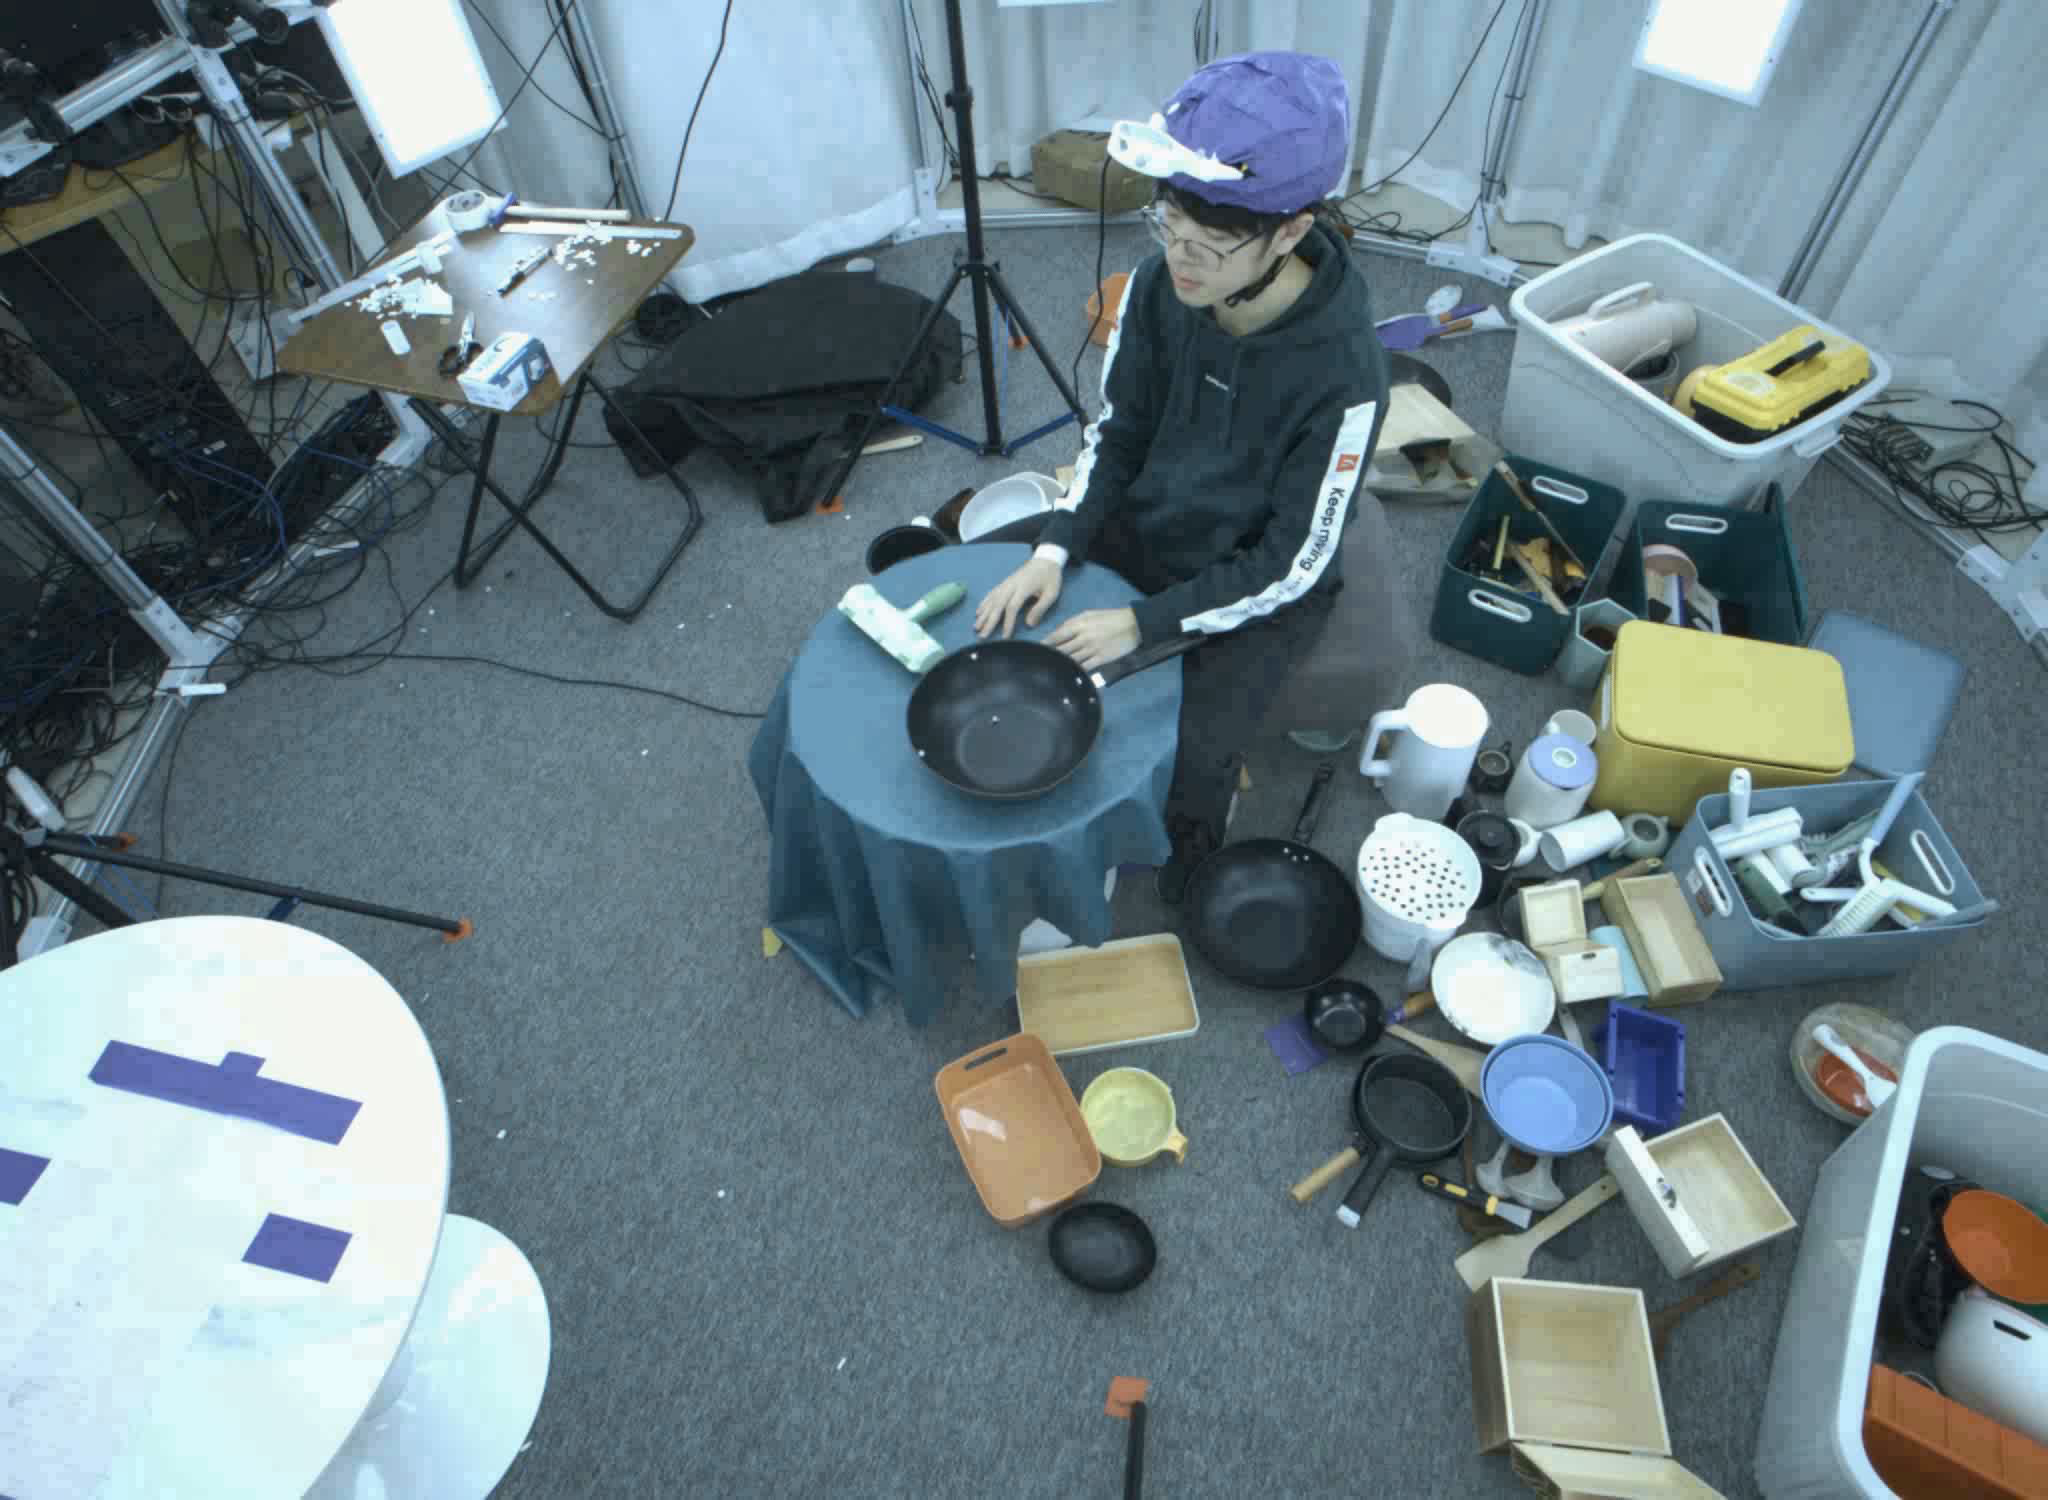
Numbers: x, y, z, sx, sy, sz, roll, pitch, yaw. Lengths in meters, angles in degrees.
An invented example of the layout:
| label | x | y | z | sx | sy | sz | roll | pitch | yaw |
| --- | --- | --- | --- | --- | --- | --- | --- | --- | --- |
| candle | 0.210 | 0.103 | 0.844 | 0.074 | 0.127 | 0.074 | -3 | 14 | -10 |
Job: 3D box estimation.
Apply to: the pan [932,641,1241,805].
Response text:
| label | x | y | z | sx | sy | sz | roll | pitch | yaw |
| --- | --- | --- | --- | --- | --- | --- | --- | --- | --- |
| pan | 0.096 | -0.057 | 1.769 | 0.467 | 0.088 | 0.283 | -20 | 56 | -14 |

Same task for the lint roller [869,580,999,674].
| label | x | y | z | sx | sy | sz | roll | pitch | yaw |
| --- | --- | --- | --- | --- | --- | --- | --- | --- | --- |
| lint roller | -0.116 | -0.226 | 1.901 | 0.184 | 0.083 | 0.195 | -39 | 61 | -16 |
